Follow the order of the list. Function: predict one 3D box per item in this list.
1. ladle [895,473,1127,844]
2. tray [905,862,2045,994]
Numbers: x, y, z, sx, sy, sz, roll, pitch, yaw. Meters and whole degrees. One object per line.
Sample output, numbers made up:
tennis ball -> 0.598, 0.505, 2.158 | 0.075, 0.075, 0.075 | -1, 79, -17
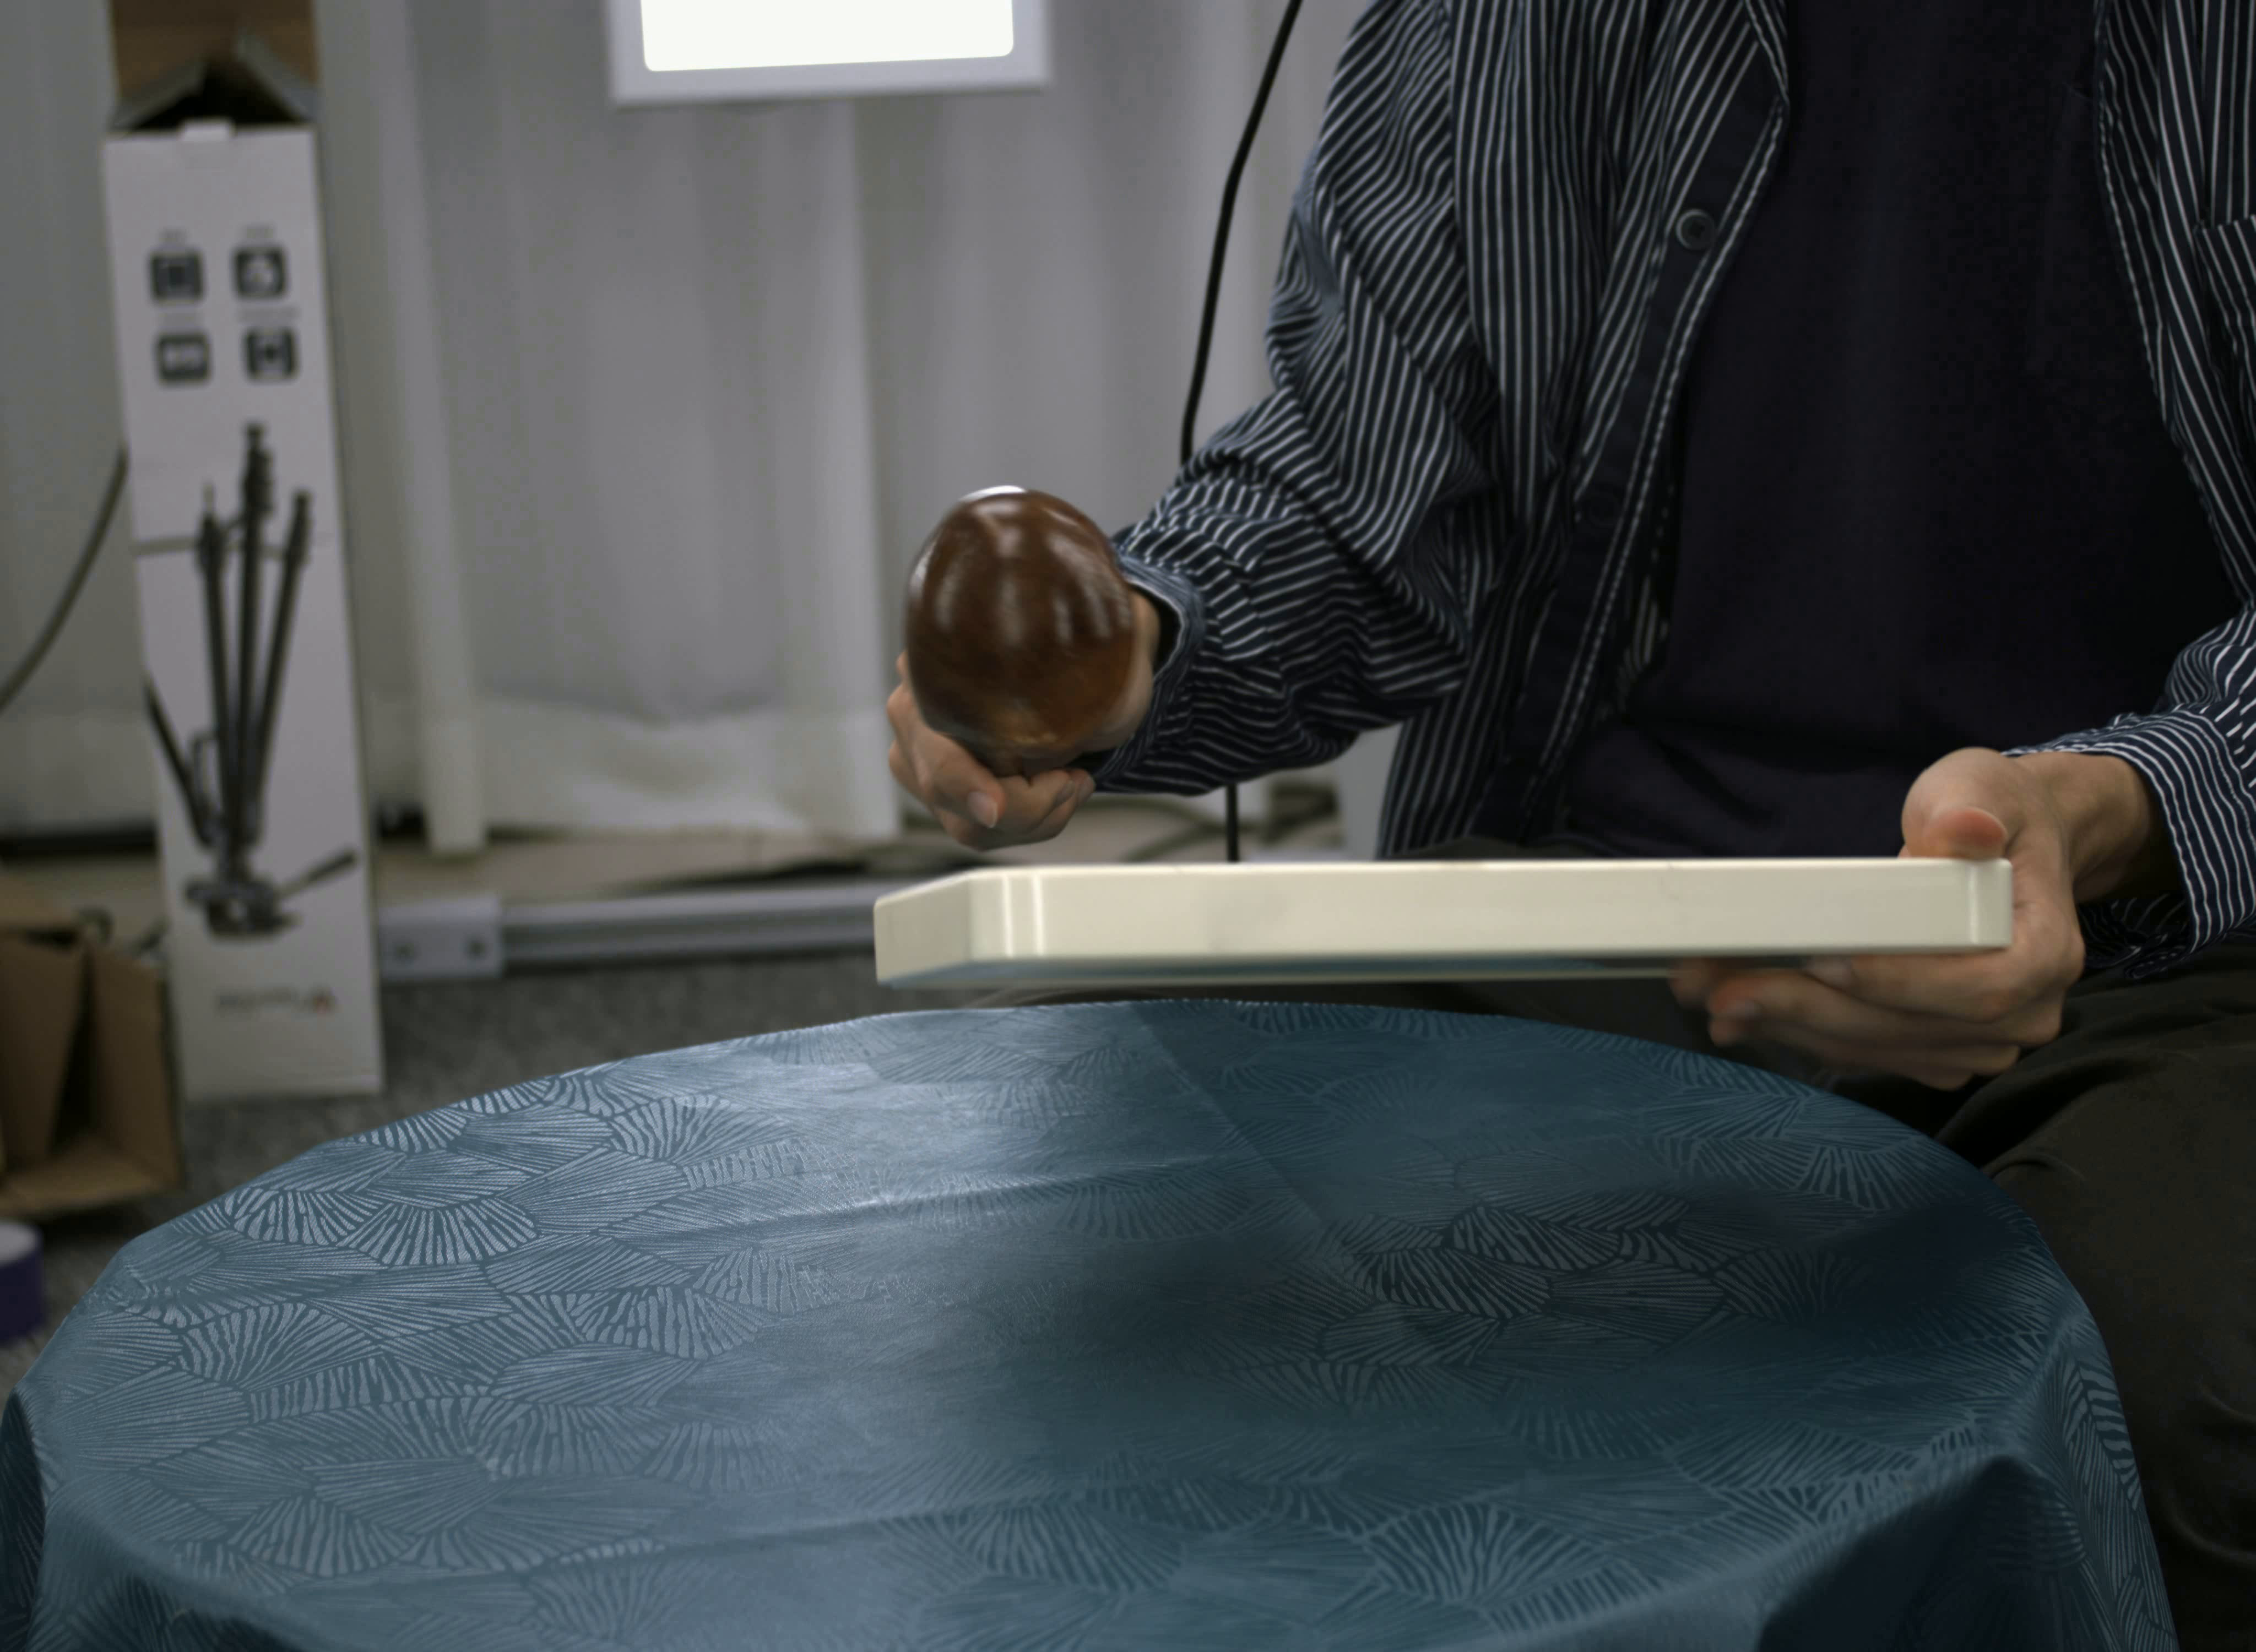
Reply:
ladle -> -0.027, -0.045, 1.730 | 0.076, 0.082, 0.272 | -20, -12, 2
tray -> 0.096, 0.030, 1.586 | 0.299, 0.027, 0.191 | 0, -4, -12
